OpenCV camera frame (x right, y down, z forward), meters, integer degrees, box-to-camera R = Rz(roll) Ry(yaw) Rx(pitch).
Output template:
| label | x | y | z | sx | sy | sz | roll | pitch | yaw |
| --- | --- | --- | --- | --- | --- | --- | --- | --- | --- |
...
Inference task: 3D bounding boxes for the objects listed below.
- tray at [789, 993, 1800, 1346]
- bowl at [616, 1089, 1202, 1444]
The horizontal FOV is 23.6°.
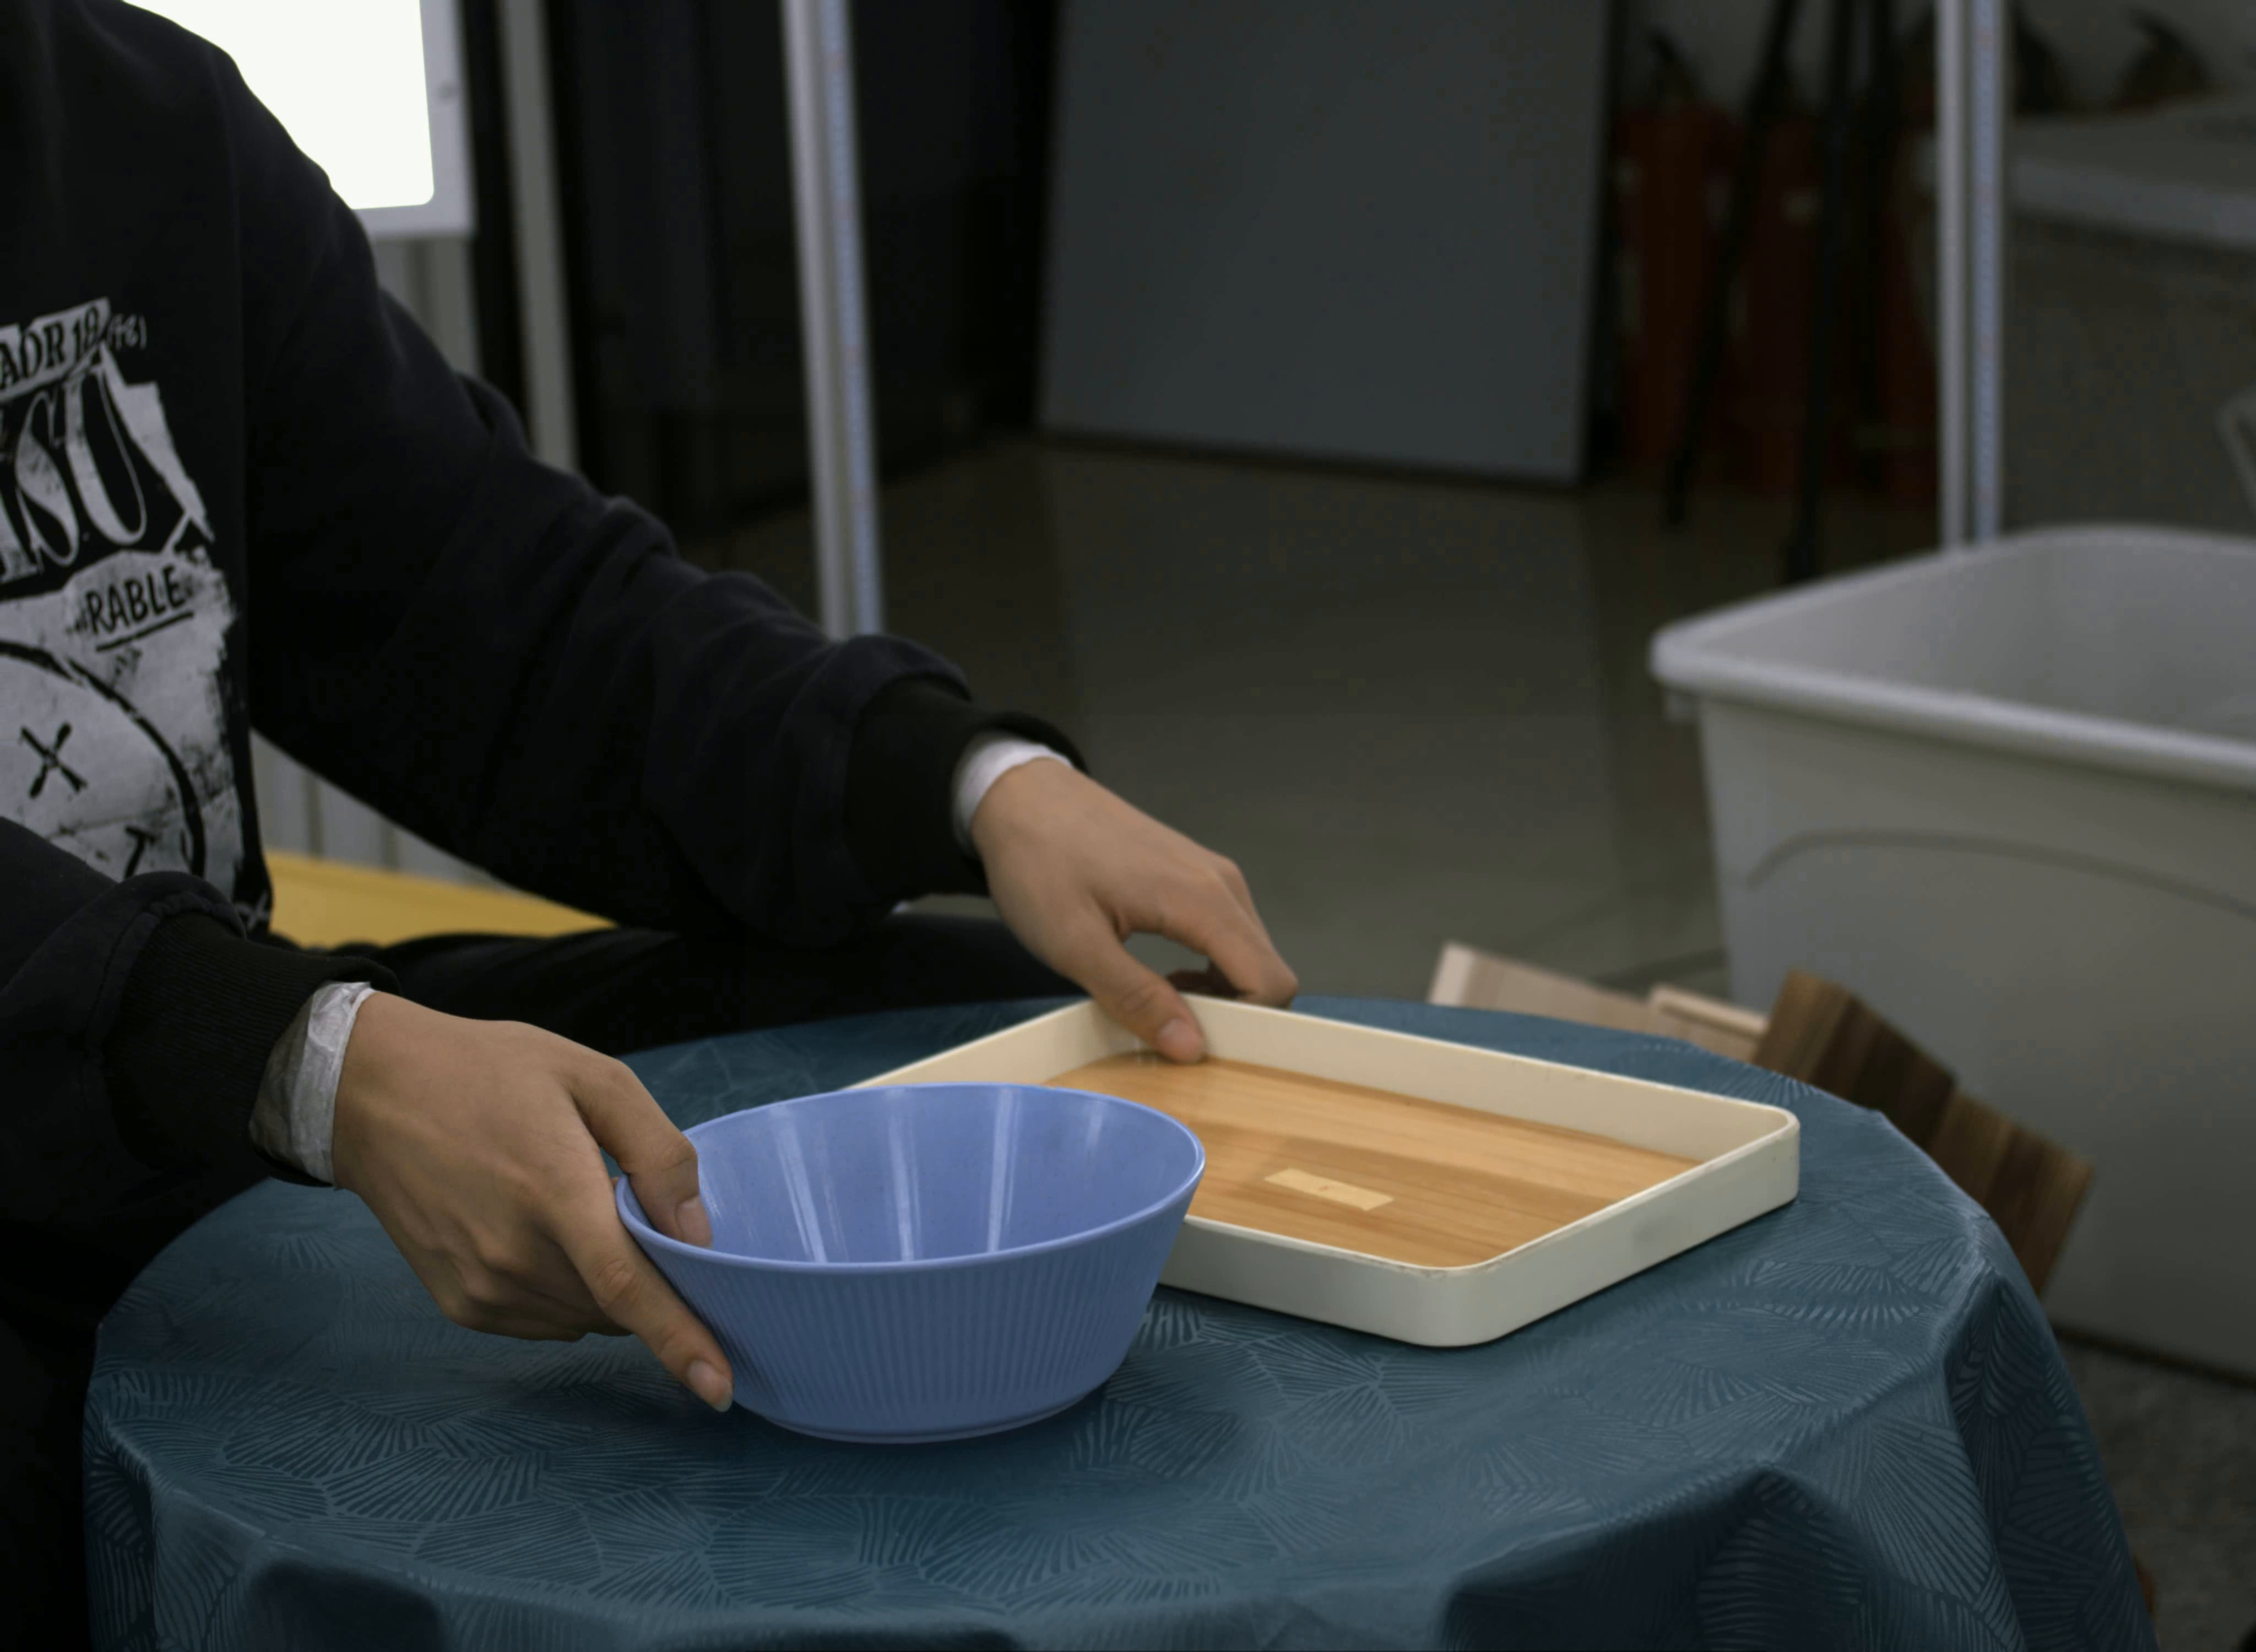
| label | x | y | z | sx | sy | sz | roll | pitch | yaw |
| --- | --- | --- | --- | --- | --- | --- | --- | --- | --- |
| tray | 0.051 | 0.108 | 1.755 | 0.303 | 0.028 | 0.188 | 9 | 19 | 42 |
| bowl | -0.063 | 0.132 | 1.596 | 0.174 | 0.071 | 0.176 | -3 | 13 | 0 |
